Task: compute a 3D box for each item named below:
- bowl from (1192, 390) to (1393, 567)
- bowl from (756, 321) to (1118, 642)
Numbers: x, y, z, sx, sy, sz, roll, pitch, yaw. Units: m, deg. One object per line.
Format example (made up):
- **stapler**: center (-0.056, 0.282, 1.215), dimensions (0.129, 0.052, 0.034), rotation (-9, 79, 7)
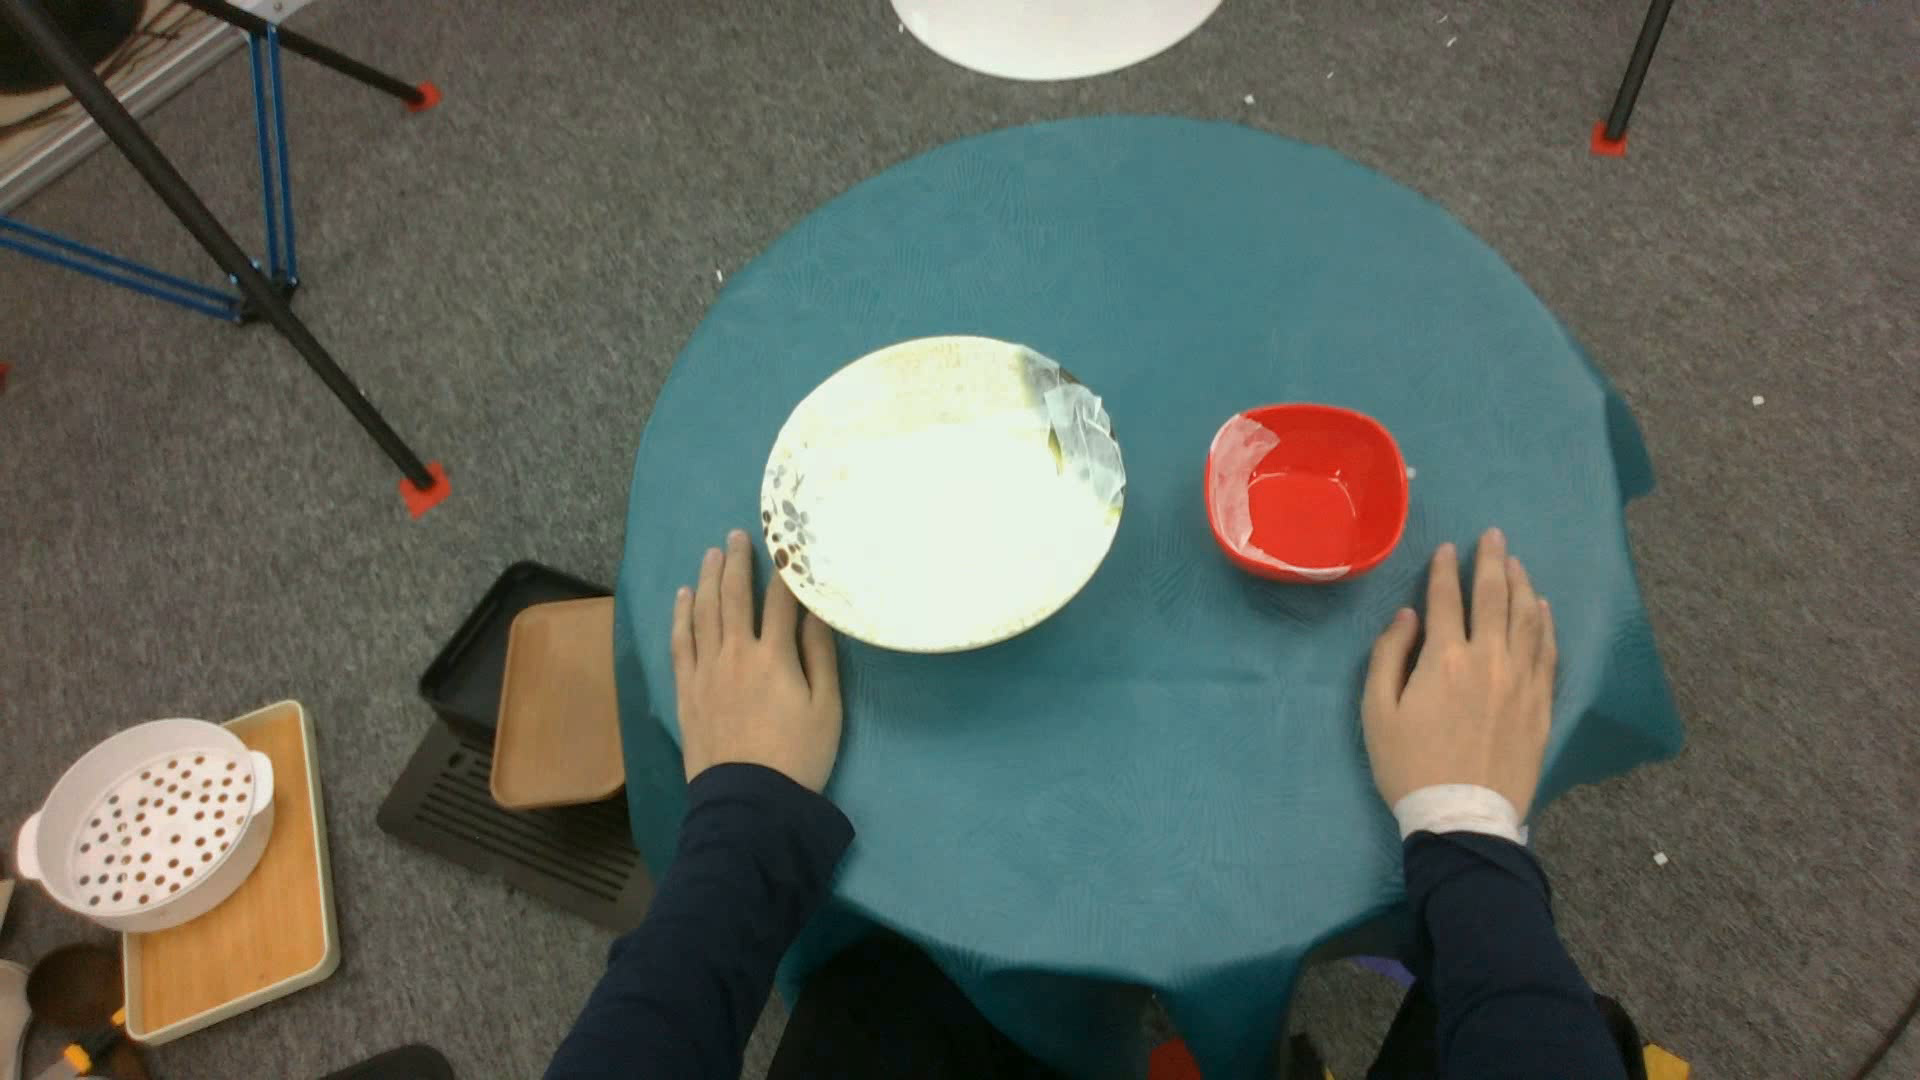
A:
- **bowl**: center (0.186, -0.027, 0.786), dimensions (0.119, 0.051, 0.119), rotation (-2, 59, 3)
- **bowl**: center (-0.009, -0.022, 0.793), dimensions (0.204, 0.077, 0.205), rotation (-4, 62, 7)
